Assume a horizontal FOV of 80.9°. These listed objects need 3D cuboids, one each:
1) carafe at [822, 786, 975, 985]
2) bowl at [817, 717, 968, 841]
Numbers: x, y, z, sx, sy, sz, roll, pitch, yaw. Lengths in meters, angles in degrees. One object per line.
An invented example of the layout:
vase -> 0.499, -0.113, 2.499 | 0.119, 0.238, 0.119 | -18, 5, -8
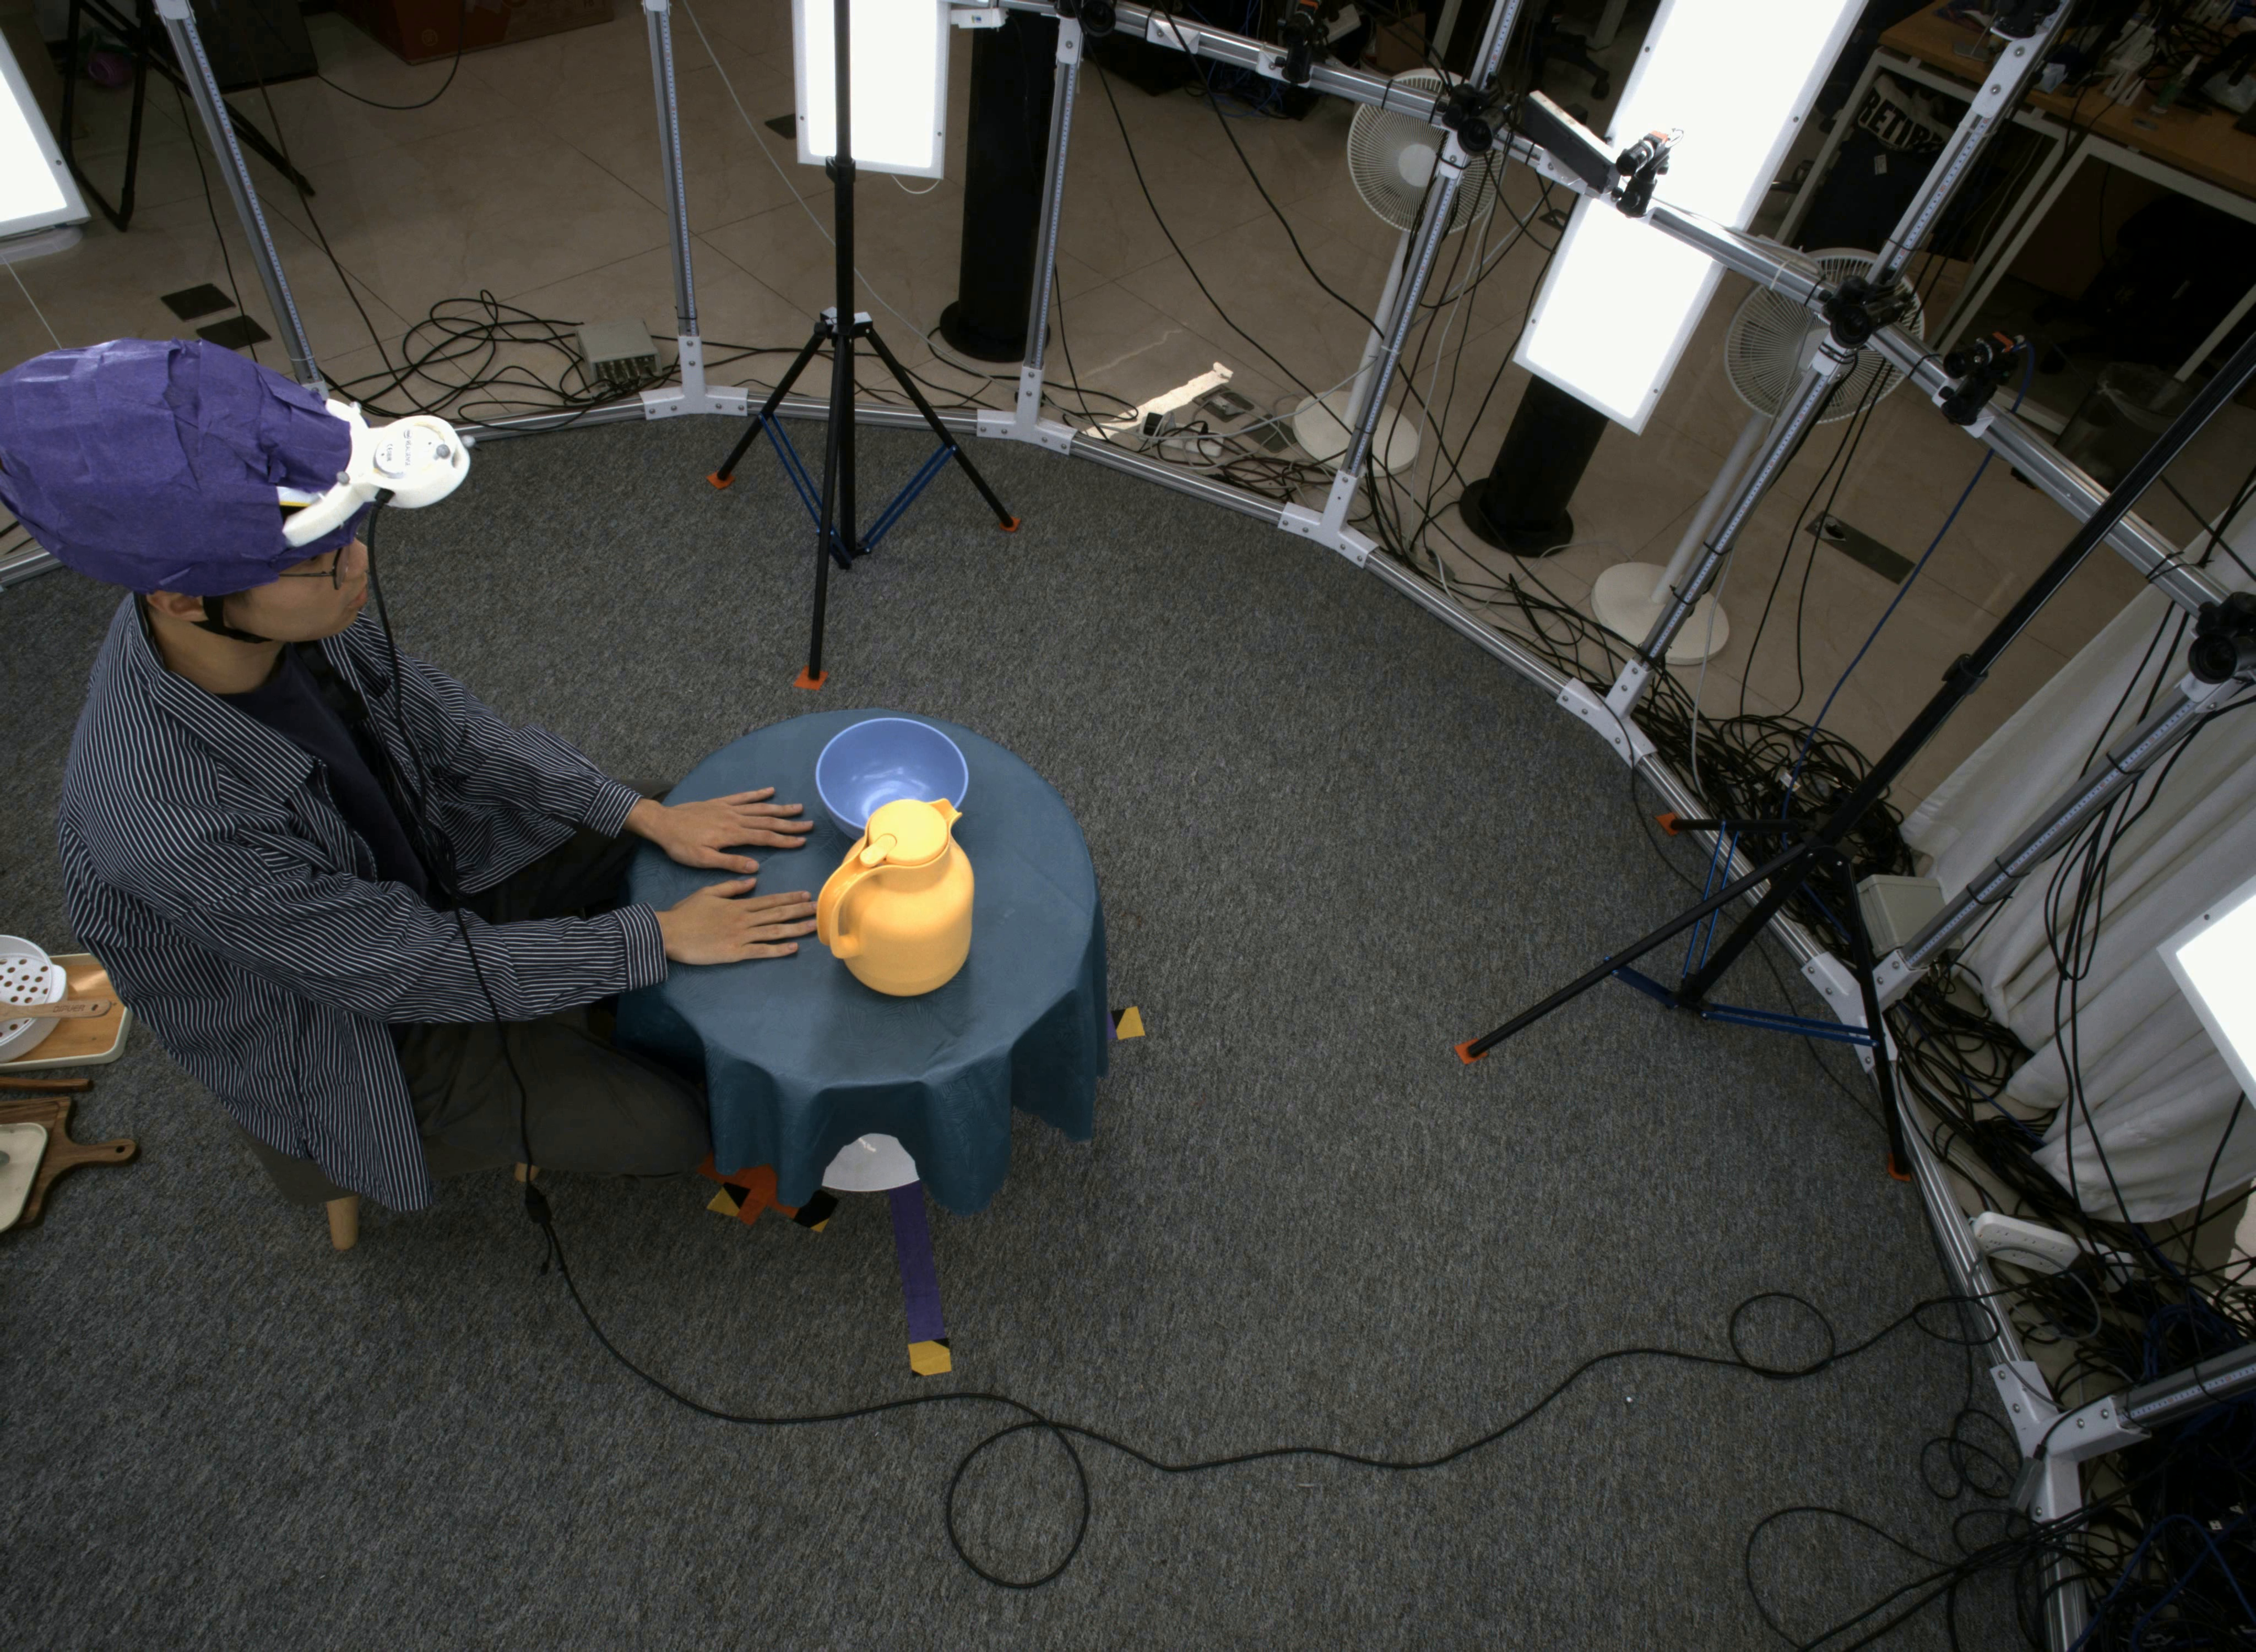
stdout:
carafe -> -0.279, 0.074, 1.554 | 0.160, 0.266, 0.203 | 40, 56, 19
bowl -> -0.315, -0.040, 1.736 | 0.196, 0.097, 0.193 | 7, 52, -8
